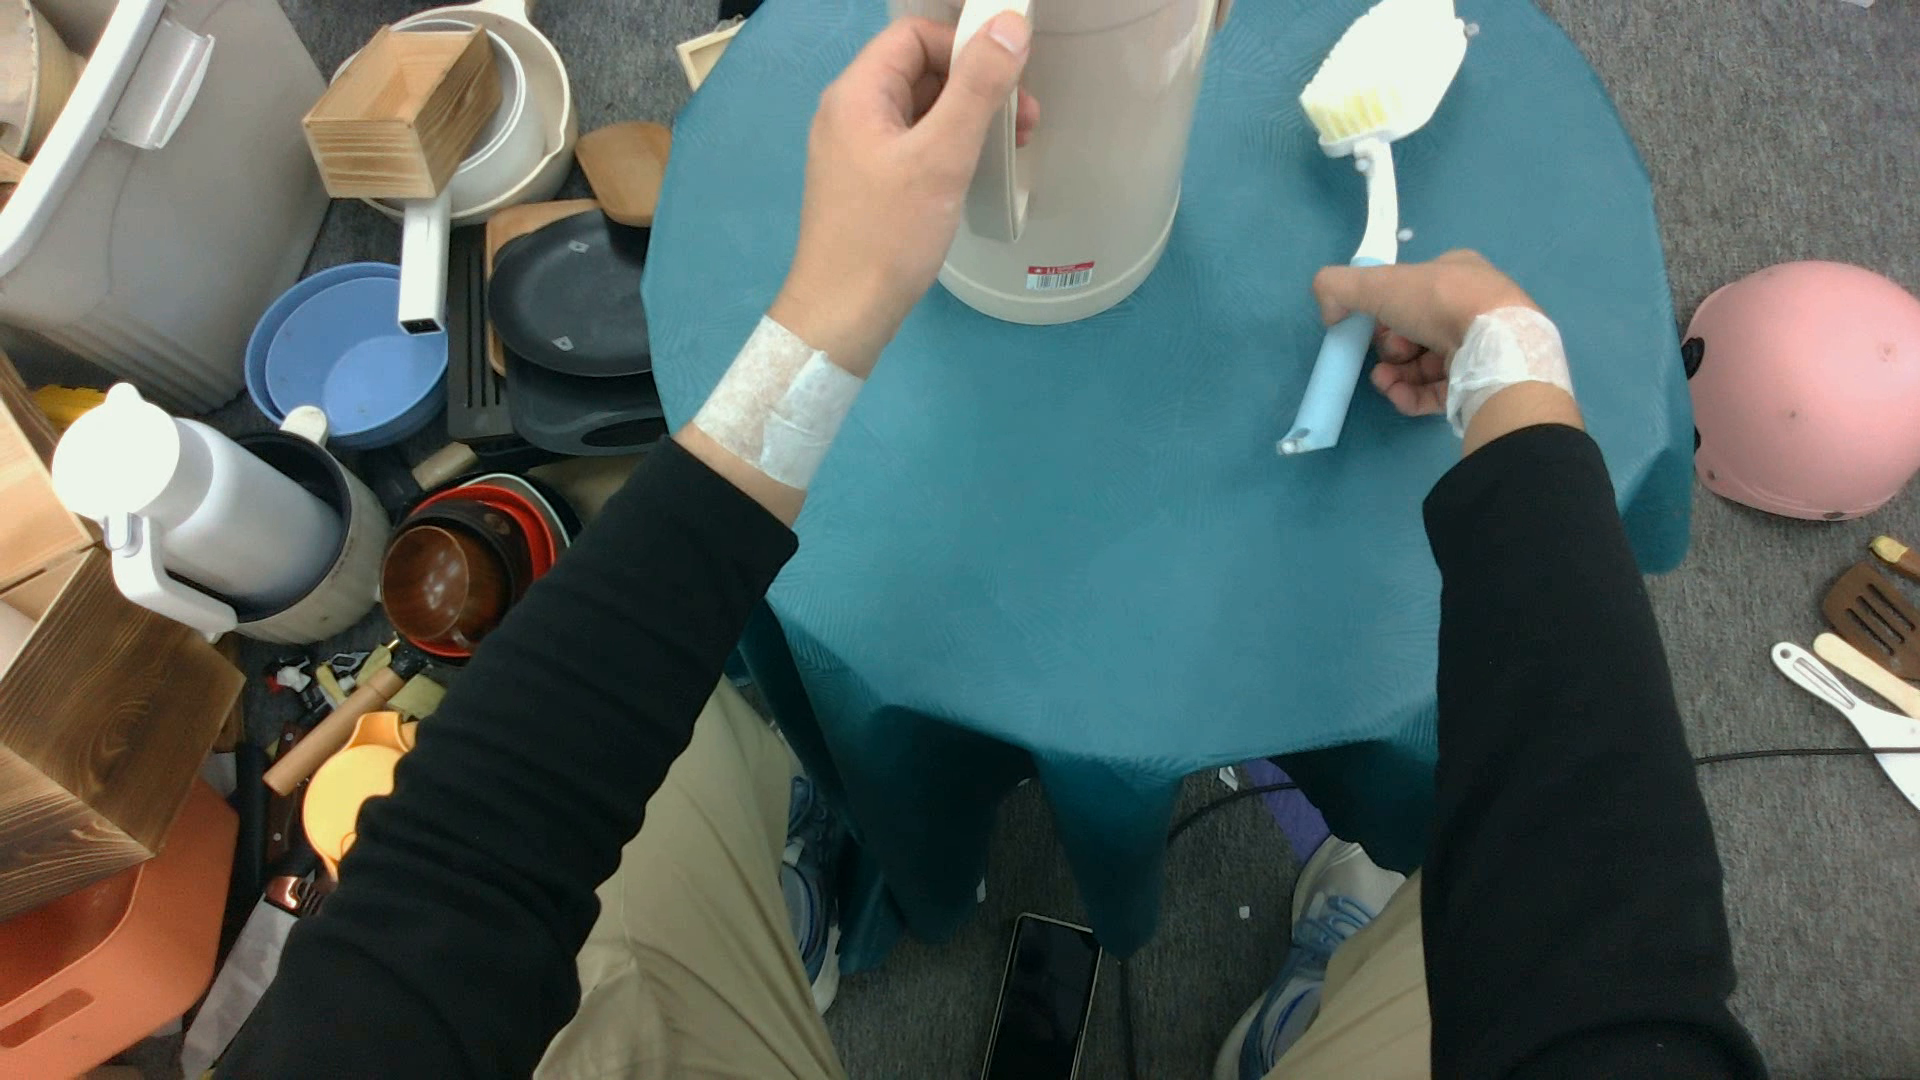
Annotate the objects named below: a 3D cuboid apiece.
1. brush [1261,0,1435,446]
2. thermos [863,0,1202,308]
[{"bbox_3d":[0.200,-0.201,0.762,0.084,0.083,0.327,18,65,12],"label":"brush"},{"bbox_3d":[0.026,-0.253,0.632,0.175,0.405,0.207,15,74,4],"label":"thermos"}]
